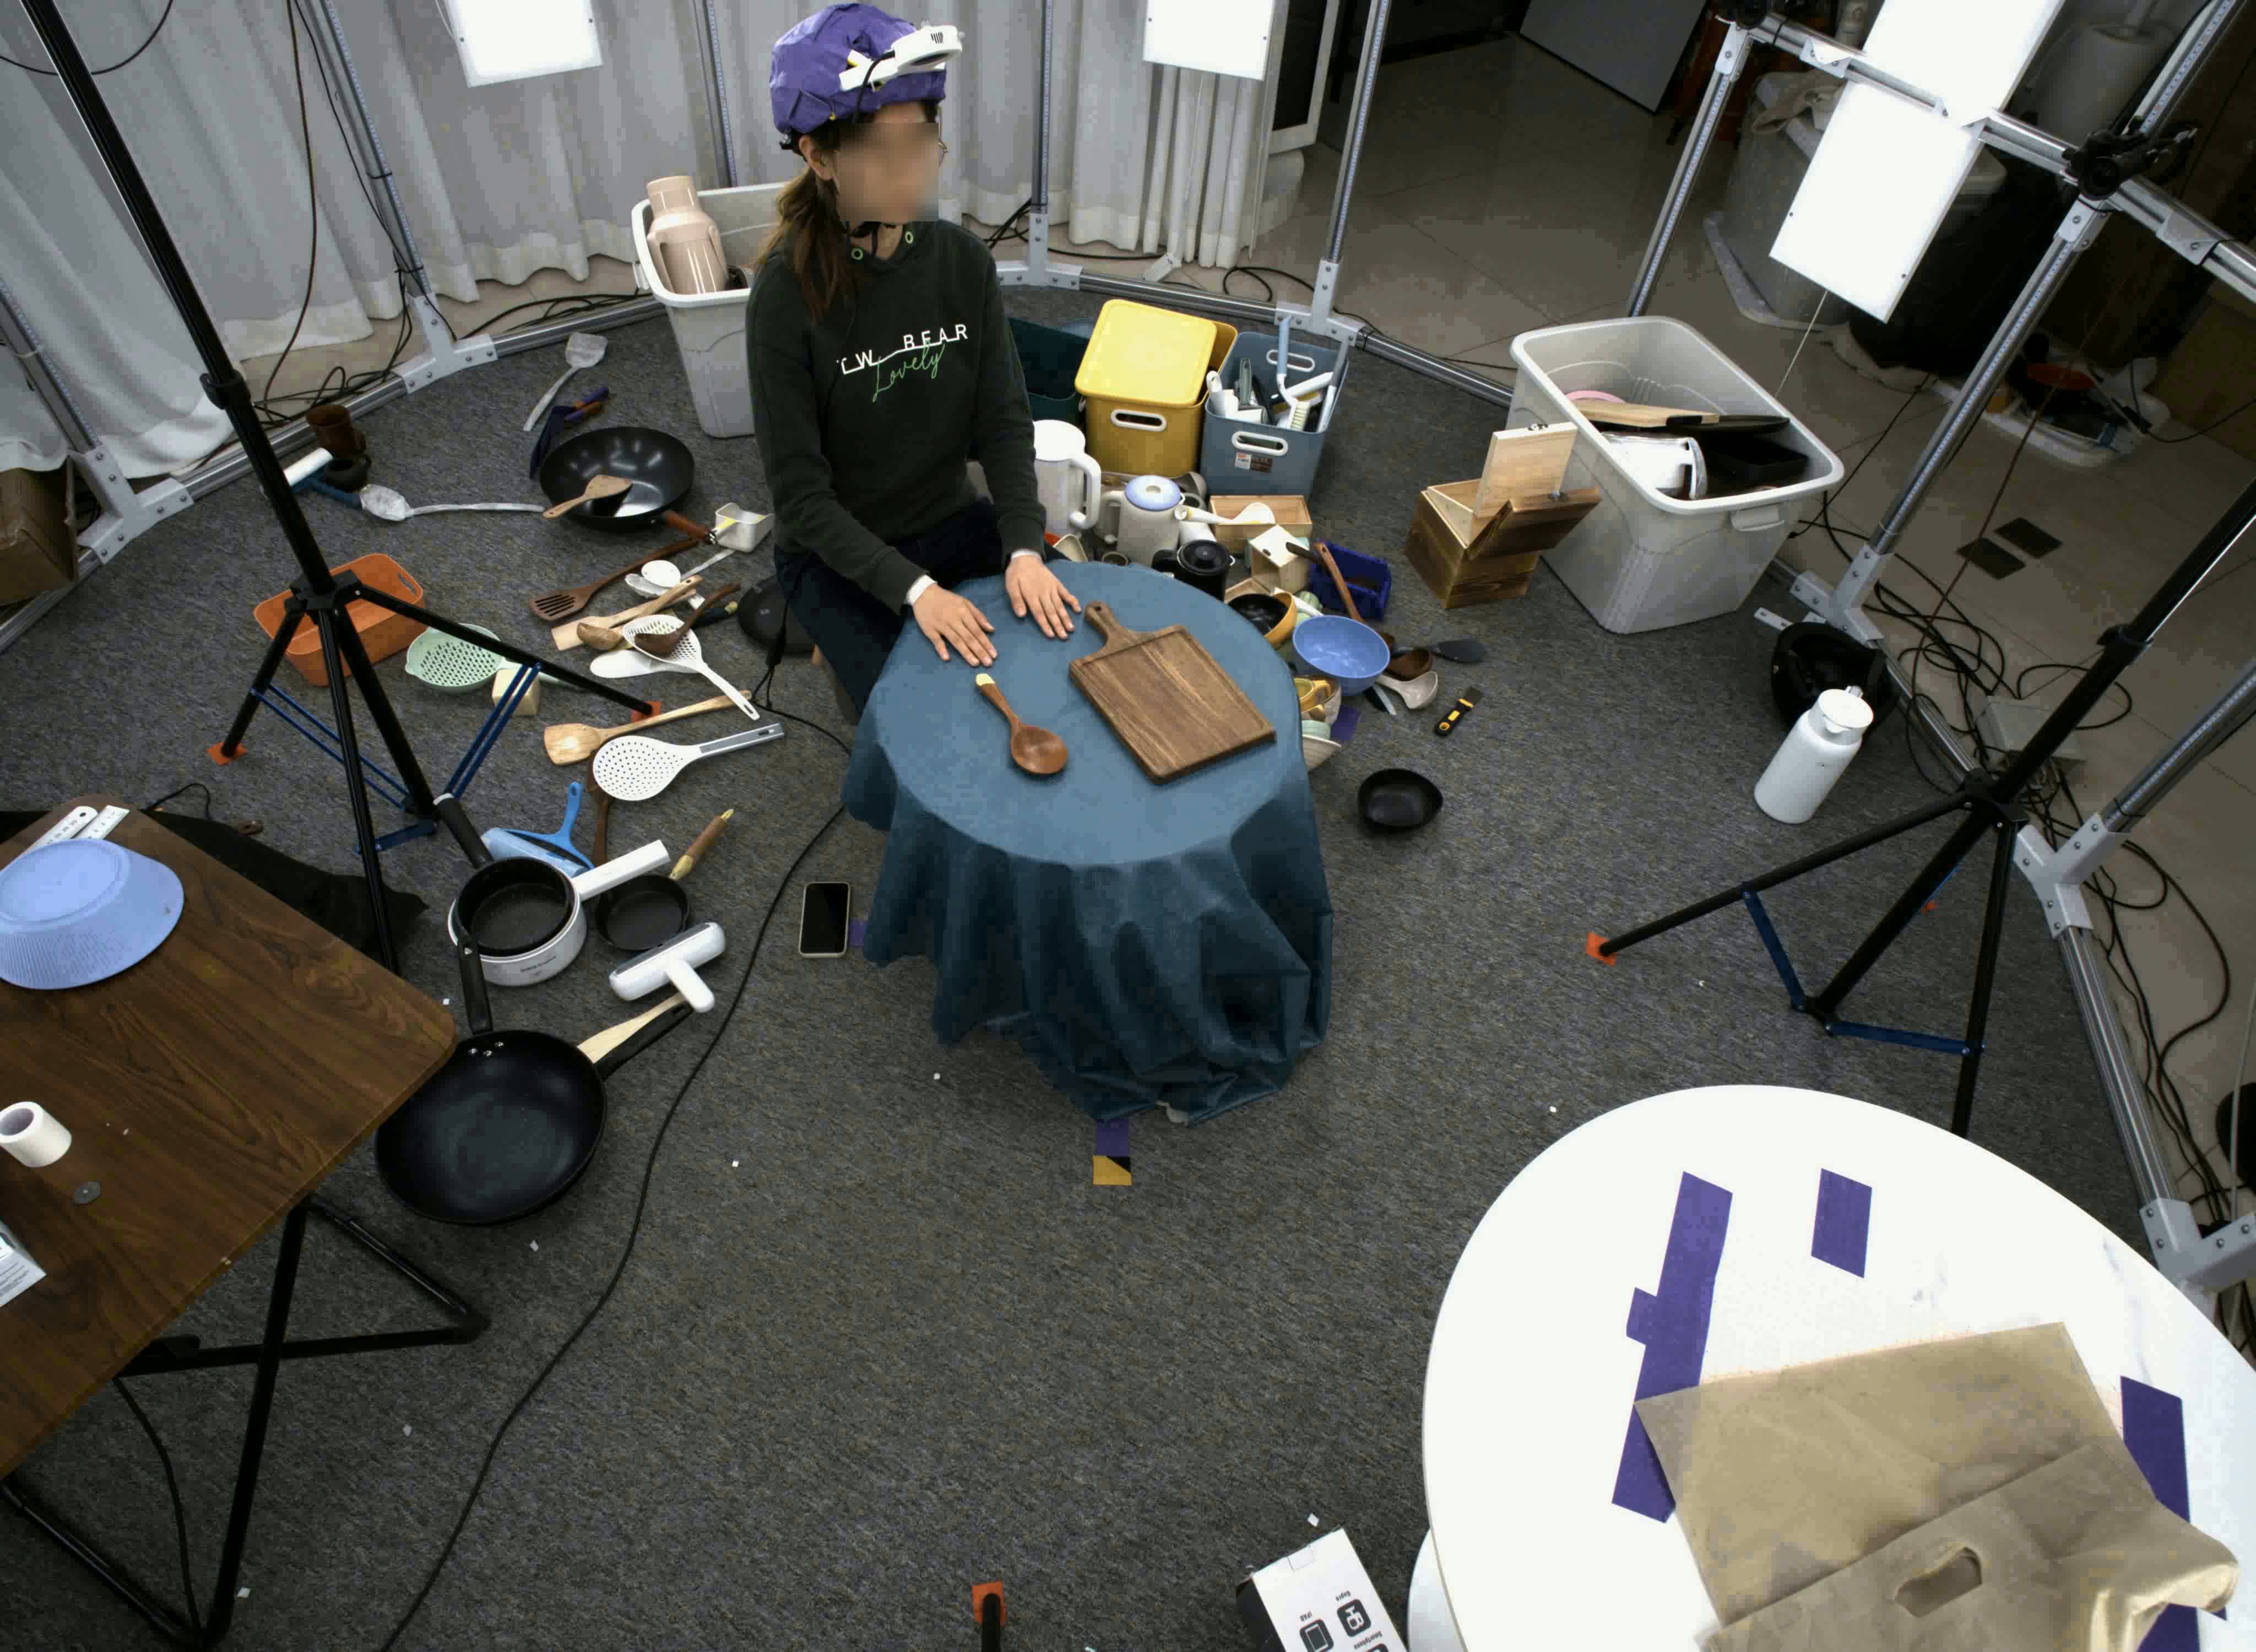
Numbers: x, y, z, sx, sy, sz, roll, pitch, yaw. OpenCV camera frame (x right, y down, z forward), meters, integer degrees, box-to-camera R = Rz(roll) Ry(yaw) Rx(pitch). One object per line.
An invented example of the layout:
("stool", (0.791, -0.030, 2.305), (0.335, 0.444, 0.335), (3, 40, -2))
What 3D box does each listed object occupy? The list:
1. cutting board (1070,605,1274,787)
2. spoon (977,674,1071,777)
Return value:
("cutting board", (0.036, -0.210, 1.859), (0.201, 0.022, 0.359), (-23, 54, -20))
("spoon", (-0.152, -0.141, 1.785), (0.076, 0.017, 0.220), (-24, 55, -20))
